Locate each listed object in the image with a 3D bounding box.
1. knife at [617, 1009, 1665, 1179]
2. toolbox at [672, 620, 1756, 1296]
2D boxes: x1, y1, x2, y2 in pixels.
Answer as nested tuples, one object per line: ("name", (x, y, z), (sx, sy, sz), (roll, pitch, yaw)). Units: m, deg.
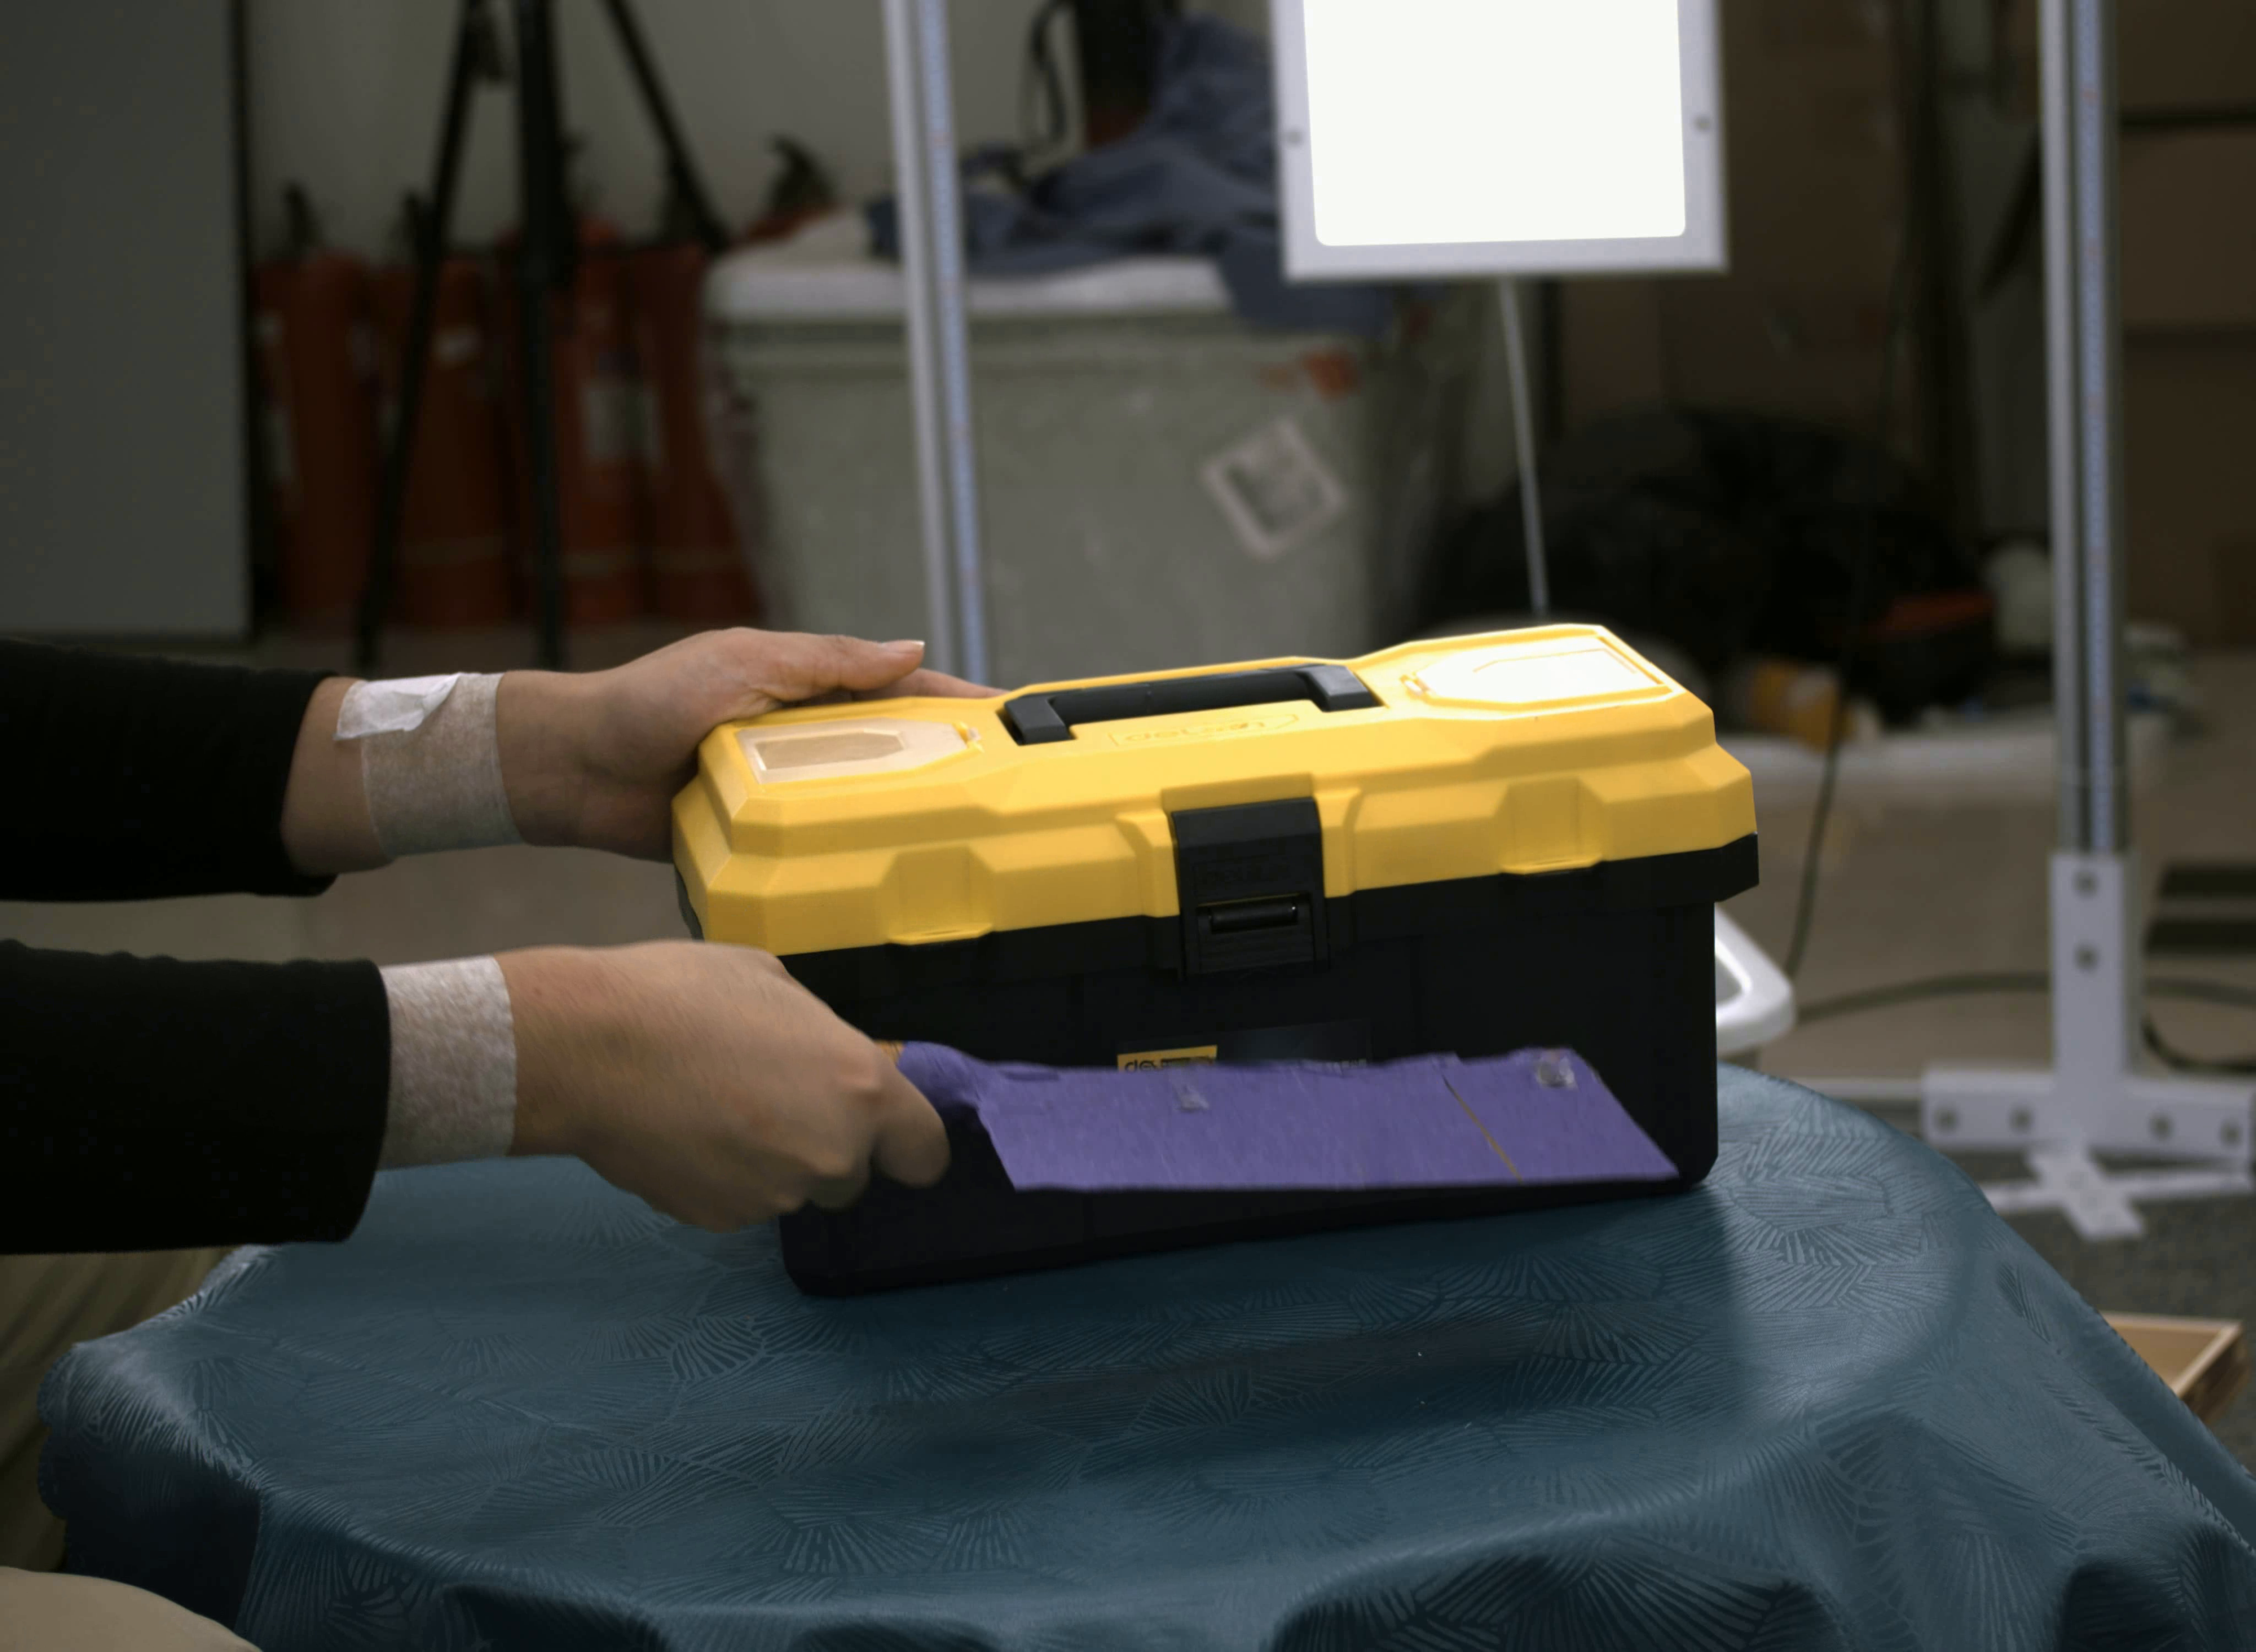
("knife", (0.006, 0.081, 1.674), (0.311, 0.032, 0.104), (-3, 20, -11))
("toolbox", (0.029, 0.043, 1.866), (0.349, 0.173, 0.182), (-7, 13, -6))
